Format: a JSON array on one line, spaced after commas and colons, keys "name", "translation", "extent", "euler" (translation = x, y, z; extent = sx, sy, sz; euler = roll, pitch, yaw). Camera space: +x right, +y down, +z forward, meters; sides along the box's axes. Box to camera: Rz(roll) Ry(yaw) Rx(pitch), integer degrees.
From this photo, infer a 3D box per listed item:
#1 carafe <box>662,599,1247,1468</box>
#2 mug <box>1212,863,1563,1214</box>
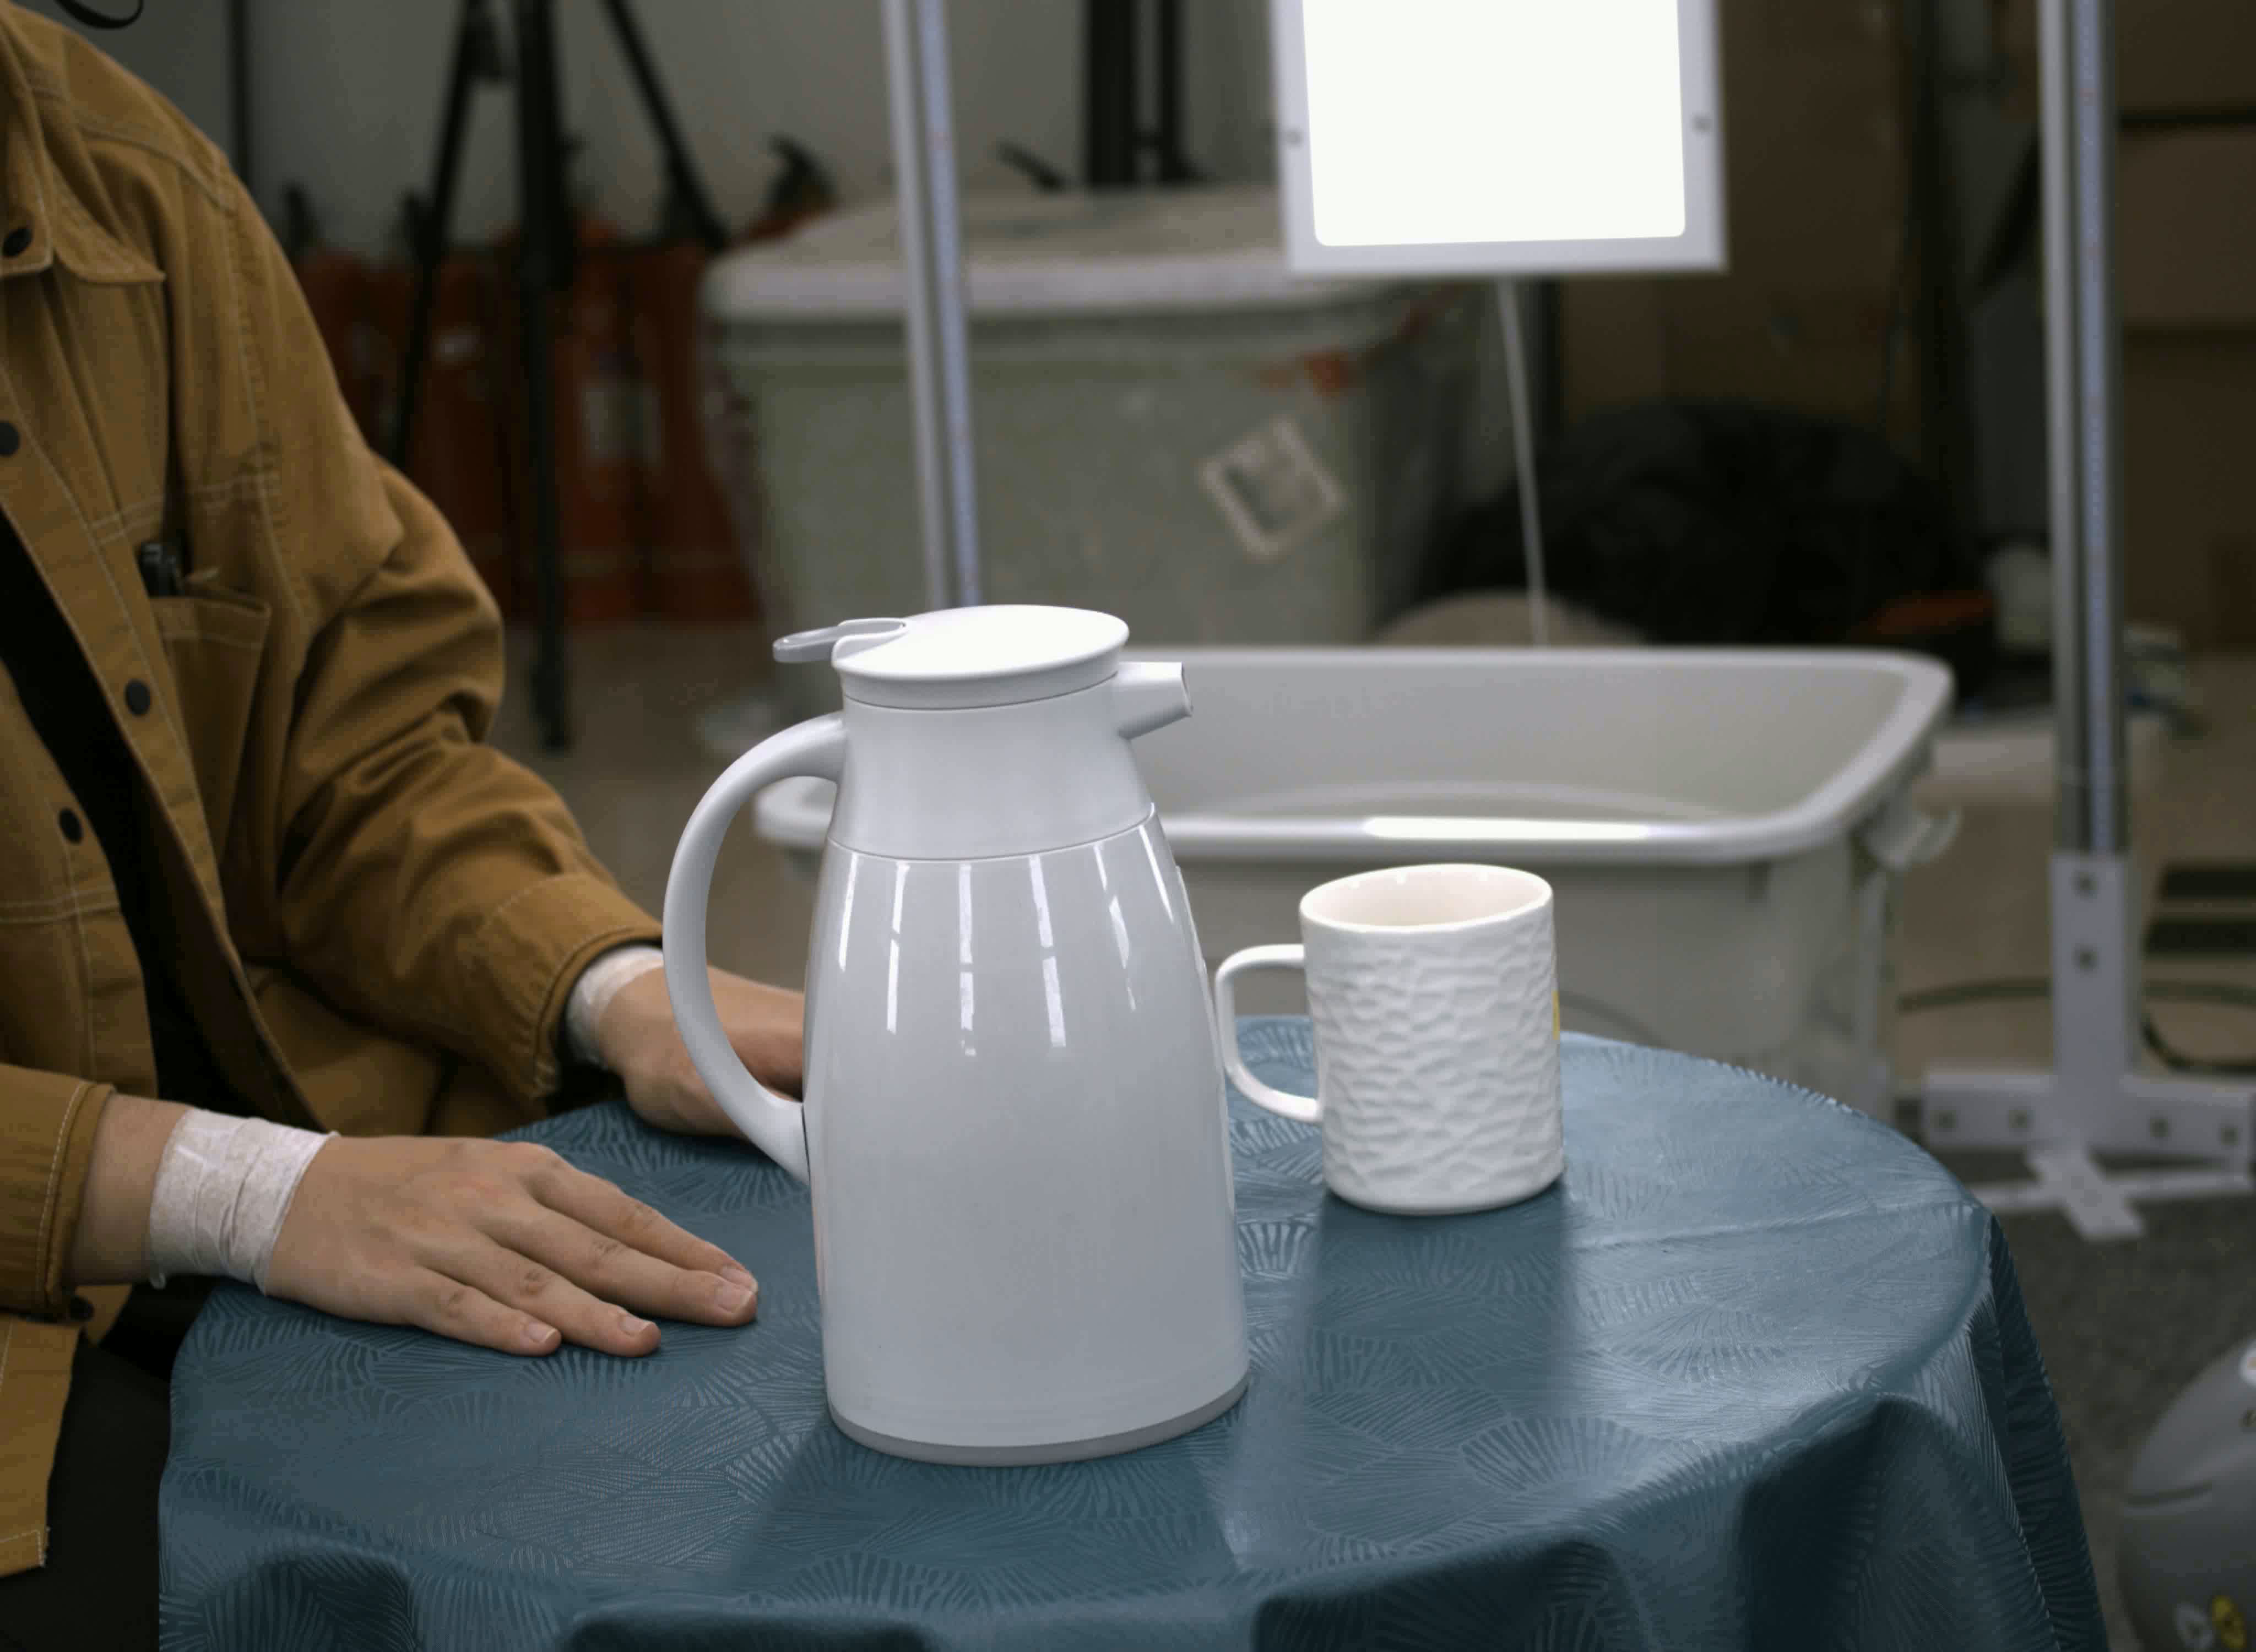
[{"name": "carafe", "translation": [-0.056, 0.058, 1.678], "extent": [0.167, 0.249, 0.132], "euler": [-5, 14, 2]}, {"name": "mug", "translation": [0.088, 0.072, 1.870], "extent": [0.119, 0.102, 0.084], "euler": [-2, 13, 10]}]
